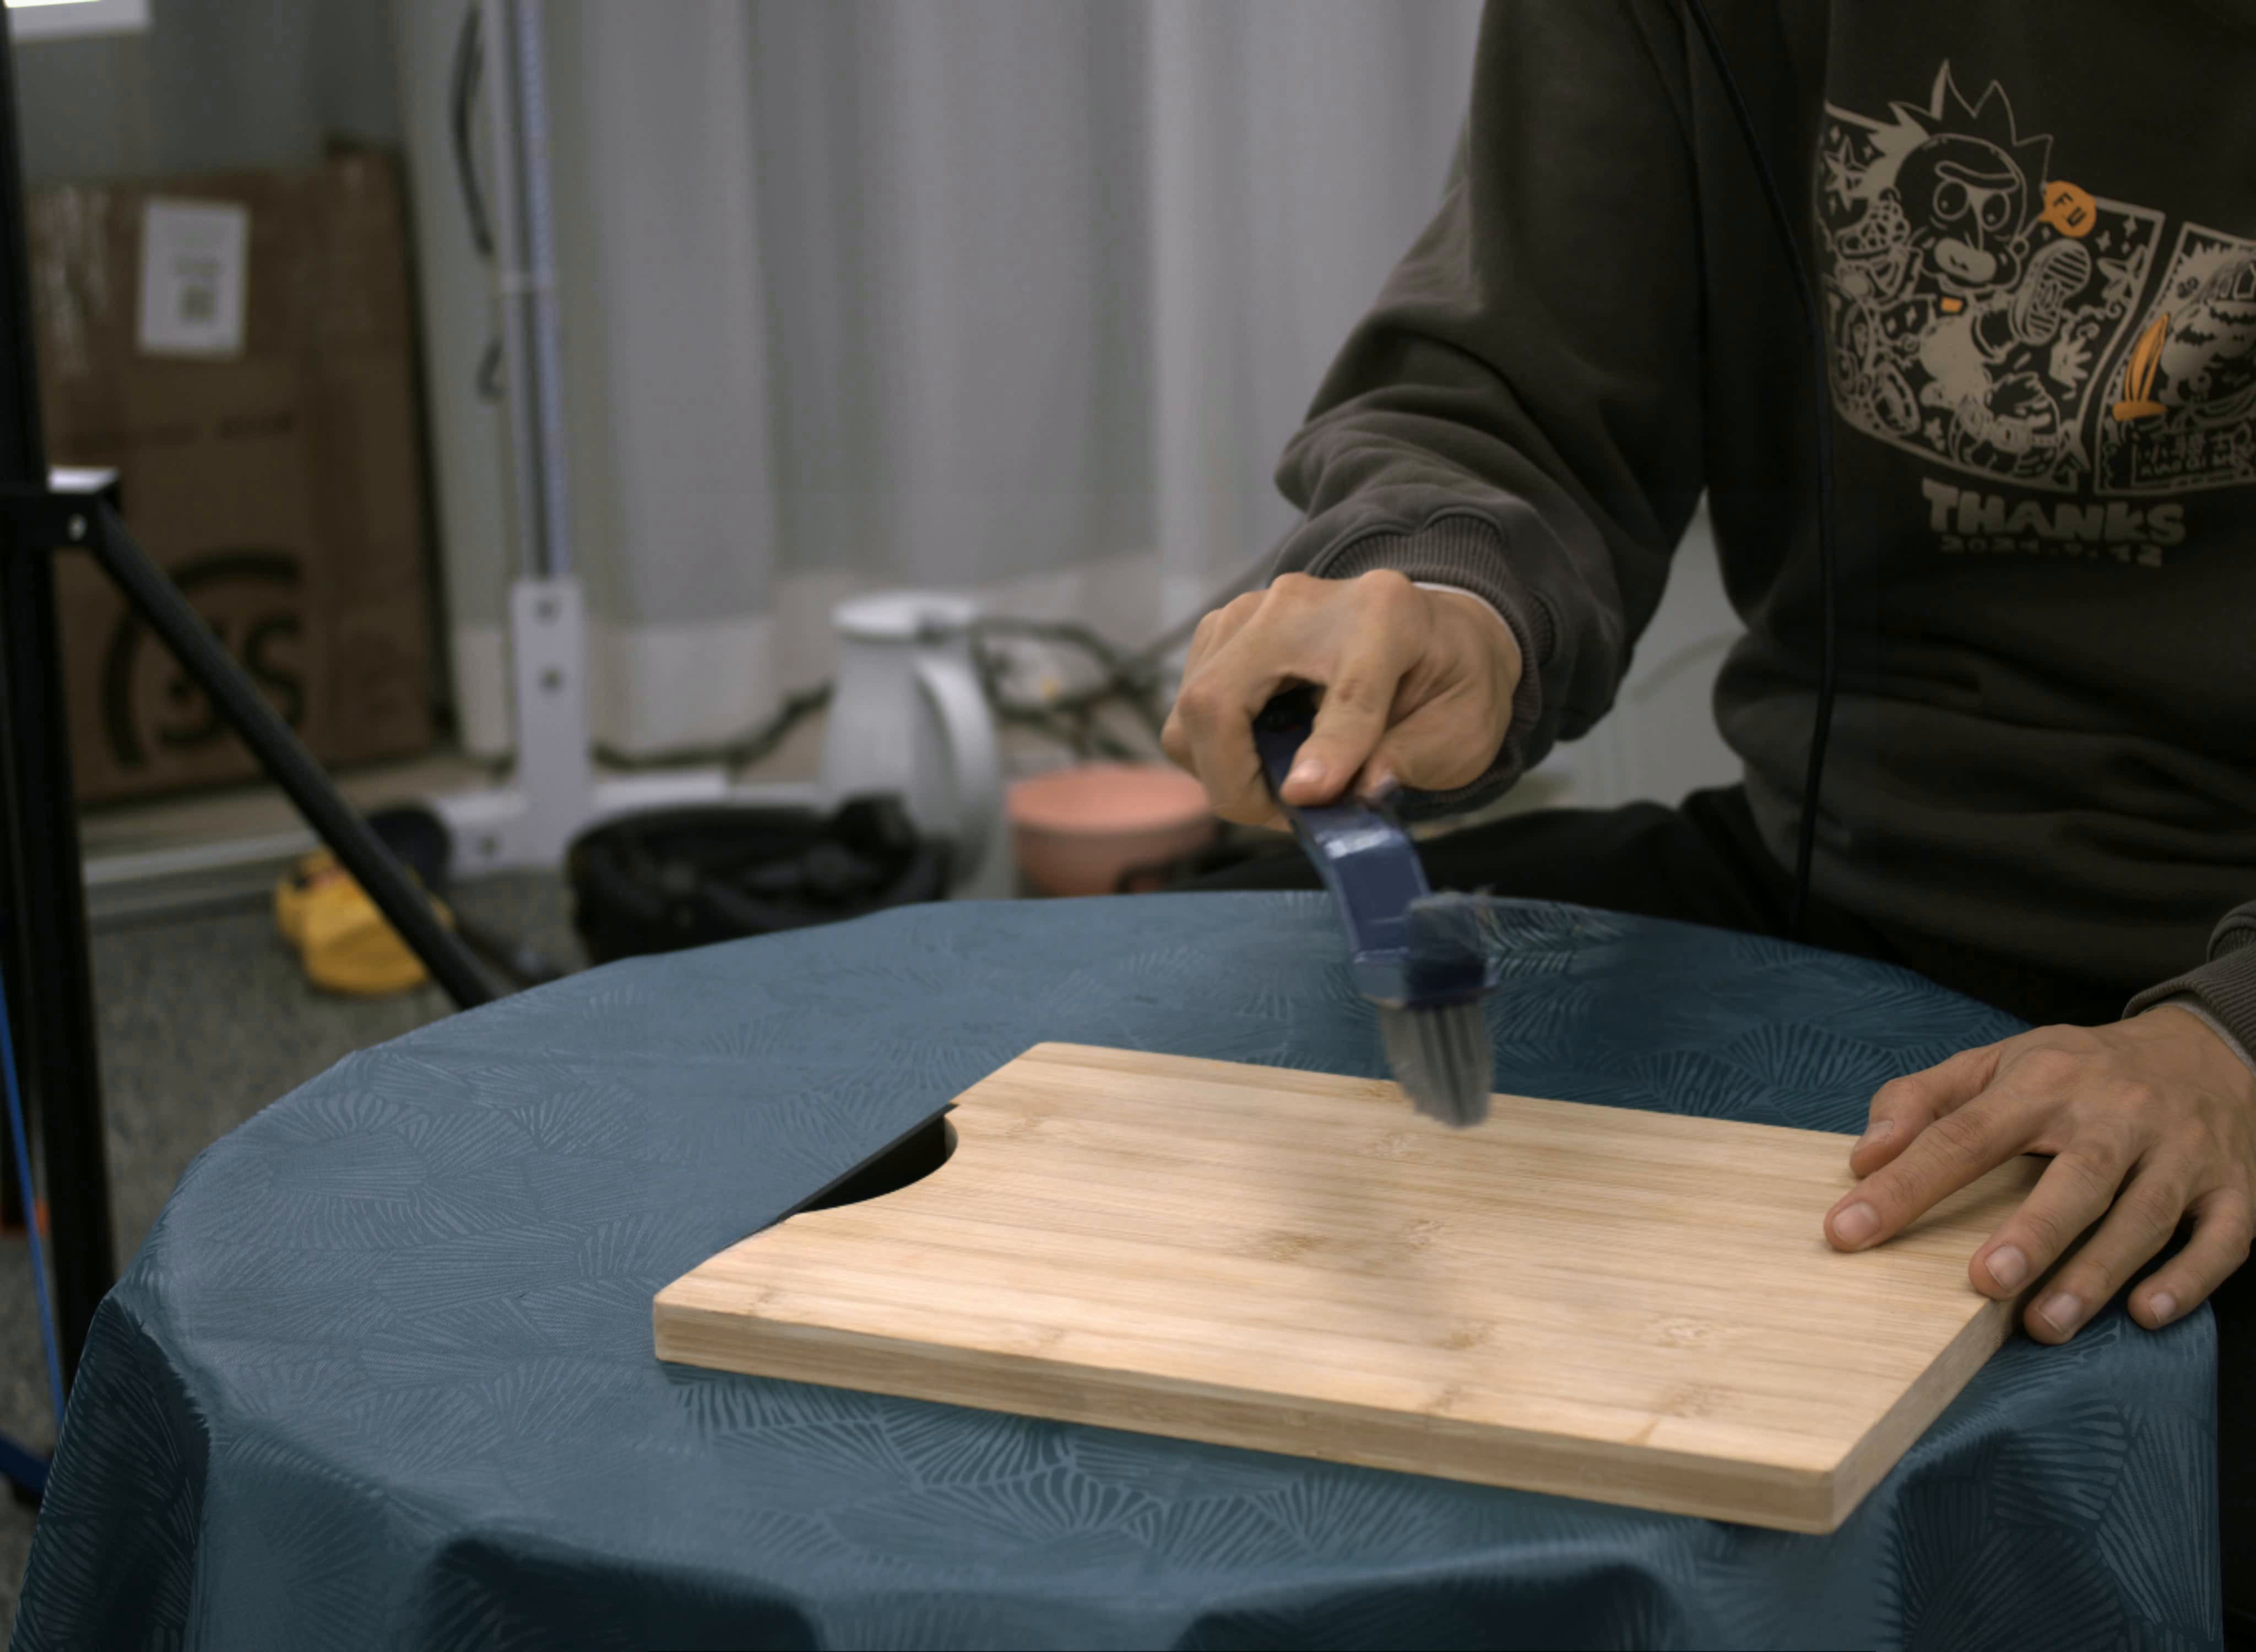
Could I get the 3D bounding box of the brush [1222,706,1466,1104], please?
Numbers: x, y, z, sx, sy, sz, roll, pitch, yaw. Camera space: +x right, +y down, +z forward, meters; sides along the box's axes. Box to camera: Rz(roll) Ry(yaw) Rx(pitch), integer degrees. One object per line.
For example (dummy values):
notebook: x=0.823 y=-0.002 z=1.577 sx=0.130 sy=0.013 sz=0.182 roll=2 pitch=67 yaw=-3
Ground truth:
brush: x=0.060 y=0.000 z=1.450 sx=0.033 sy=0.095 sz=0.277 roll=-13 pitch=26 yaw=-4

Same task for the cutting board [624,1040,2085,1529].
cutting board: x=0.068 y=0.121 z=1.475 sx=0.354 sy=0.023 sz=0.247 roll=5 pitch=17 yaw=26
